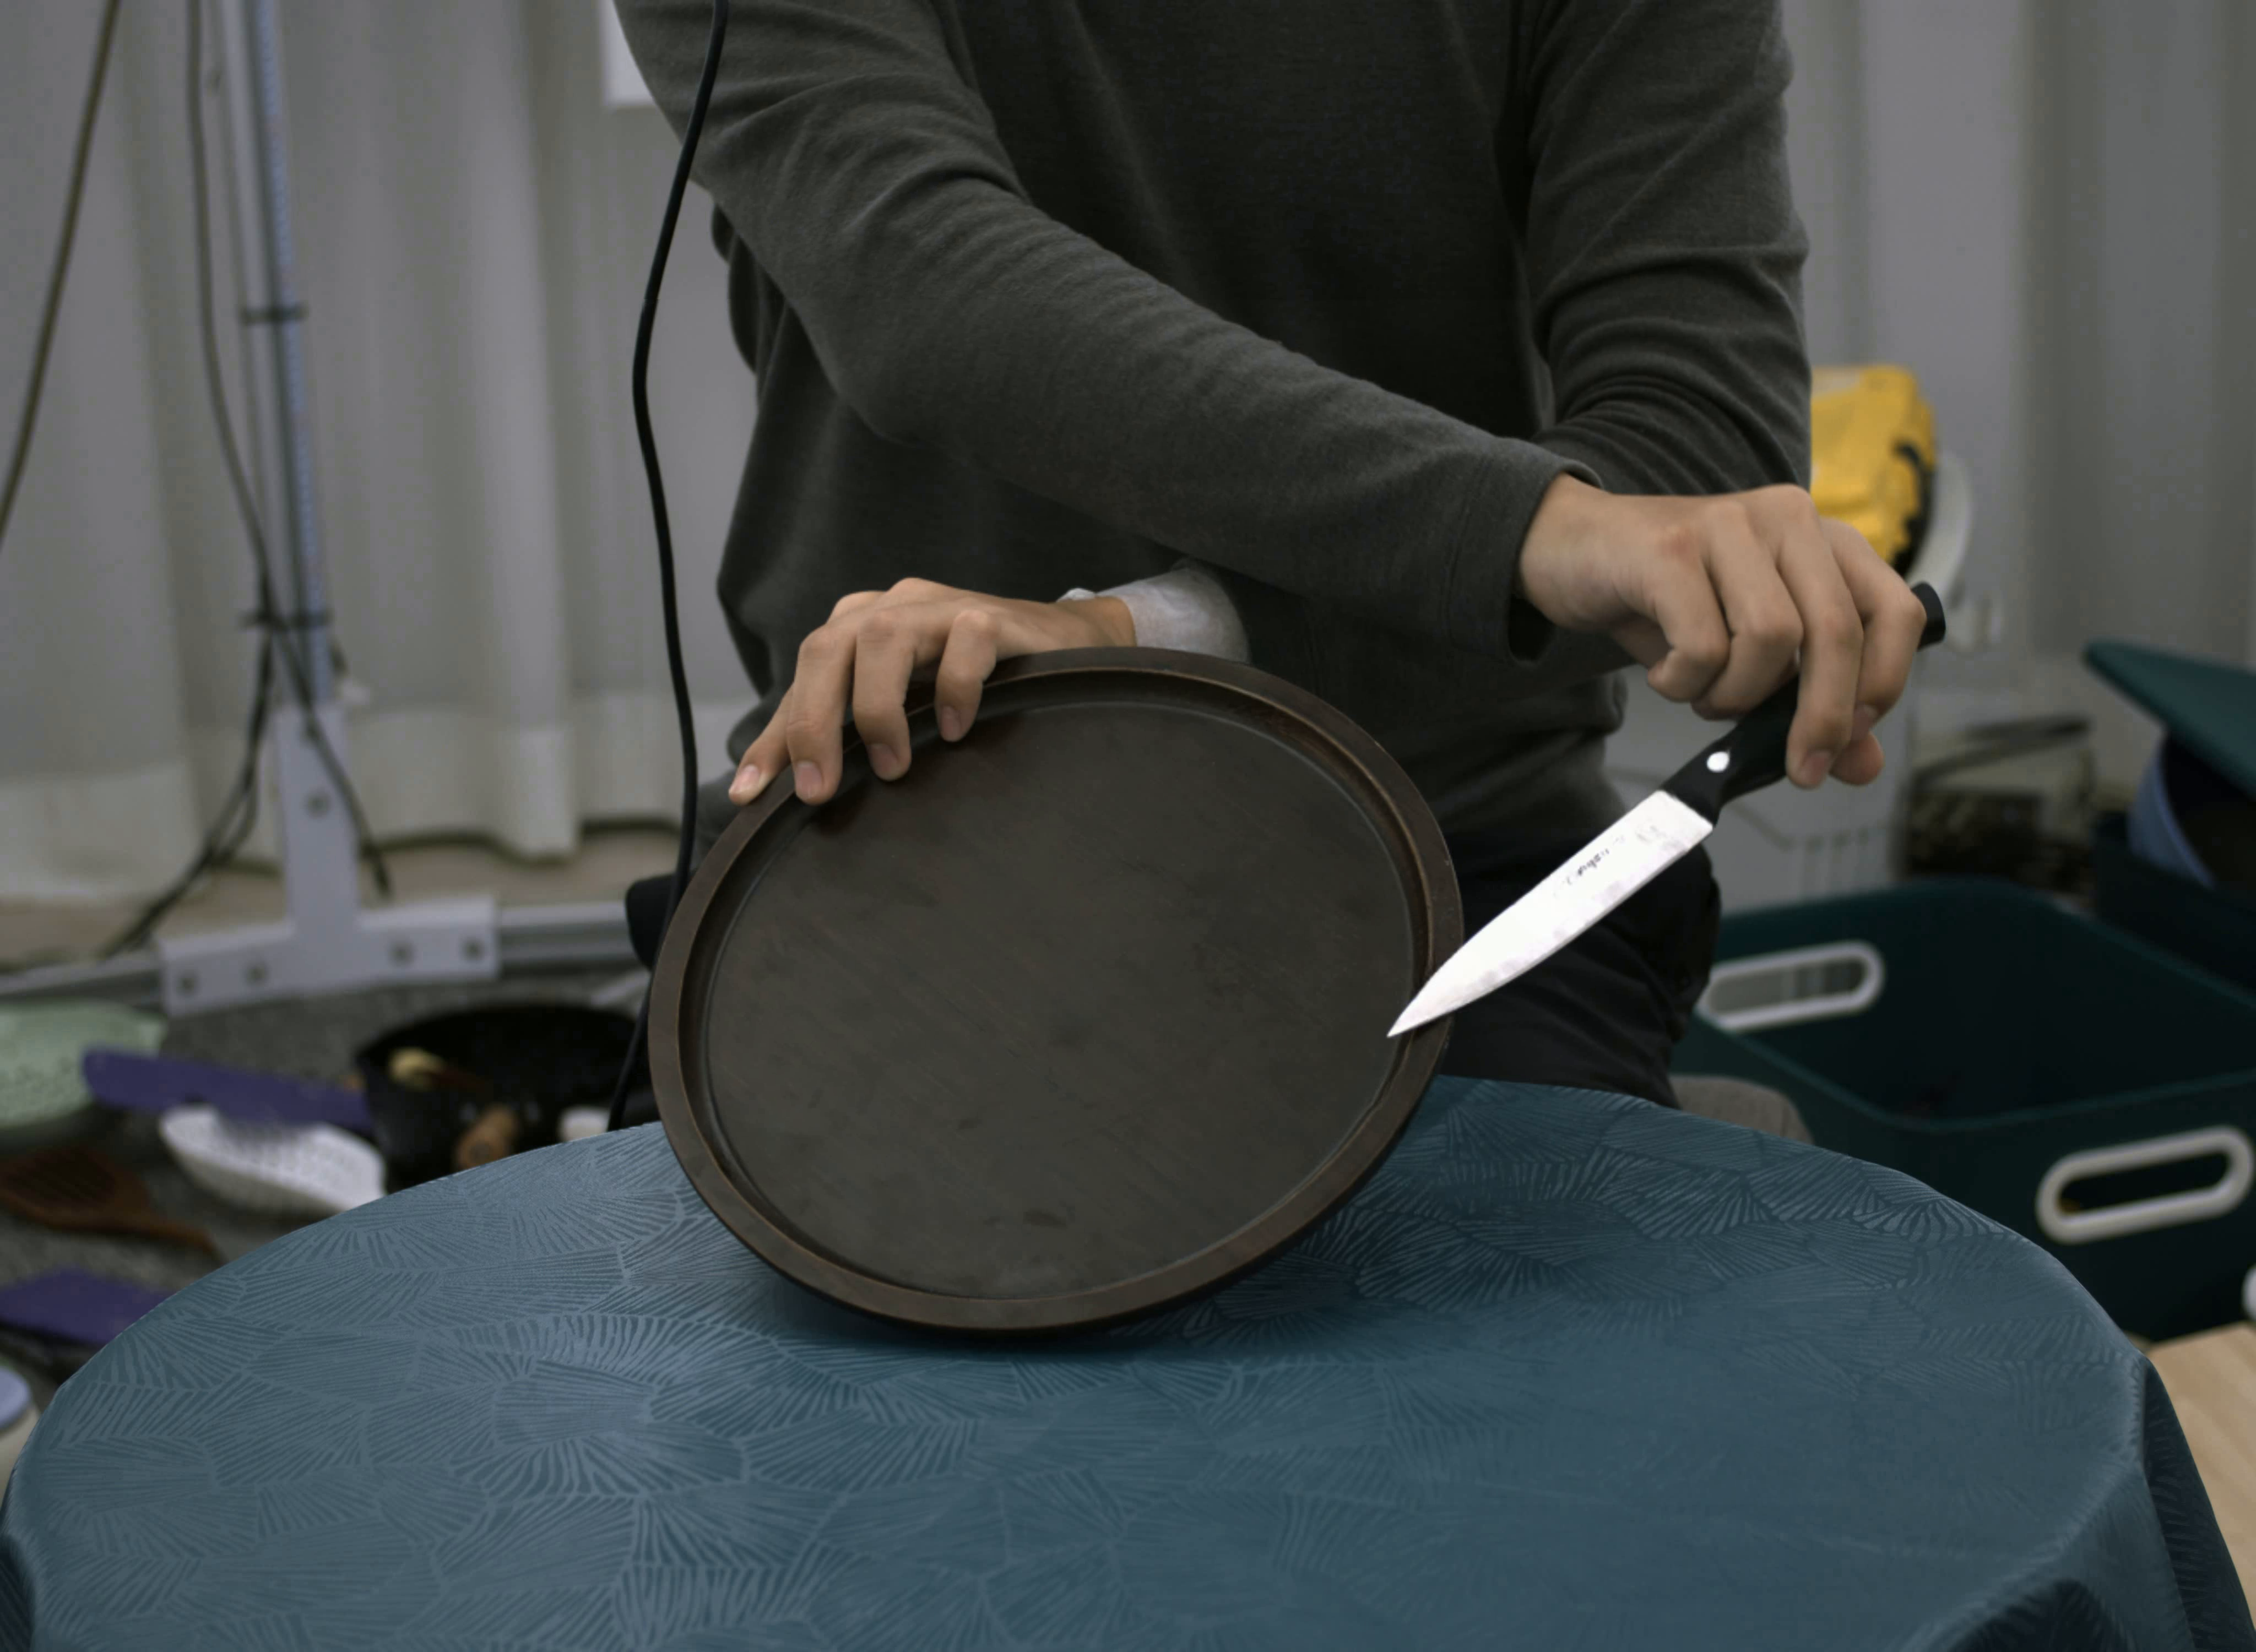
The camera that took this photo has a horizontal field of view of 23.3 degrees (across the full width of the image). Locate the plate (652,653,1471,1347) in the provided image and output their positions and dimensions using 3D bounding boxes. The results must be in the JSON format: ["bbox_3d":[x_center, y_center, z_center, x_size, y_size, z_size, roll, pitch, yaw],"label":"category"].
[{"bbox_3d":[-0.020,0.051,1.659,0.254,0.028,0.259,-6,51,8],"label":"plate"}]

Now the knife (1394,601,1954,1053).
[{"bbox_3d":[0.164,-0.001,1.654,0.239,0.016,0.024,-37,64,-24],"label":"knife"}]
